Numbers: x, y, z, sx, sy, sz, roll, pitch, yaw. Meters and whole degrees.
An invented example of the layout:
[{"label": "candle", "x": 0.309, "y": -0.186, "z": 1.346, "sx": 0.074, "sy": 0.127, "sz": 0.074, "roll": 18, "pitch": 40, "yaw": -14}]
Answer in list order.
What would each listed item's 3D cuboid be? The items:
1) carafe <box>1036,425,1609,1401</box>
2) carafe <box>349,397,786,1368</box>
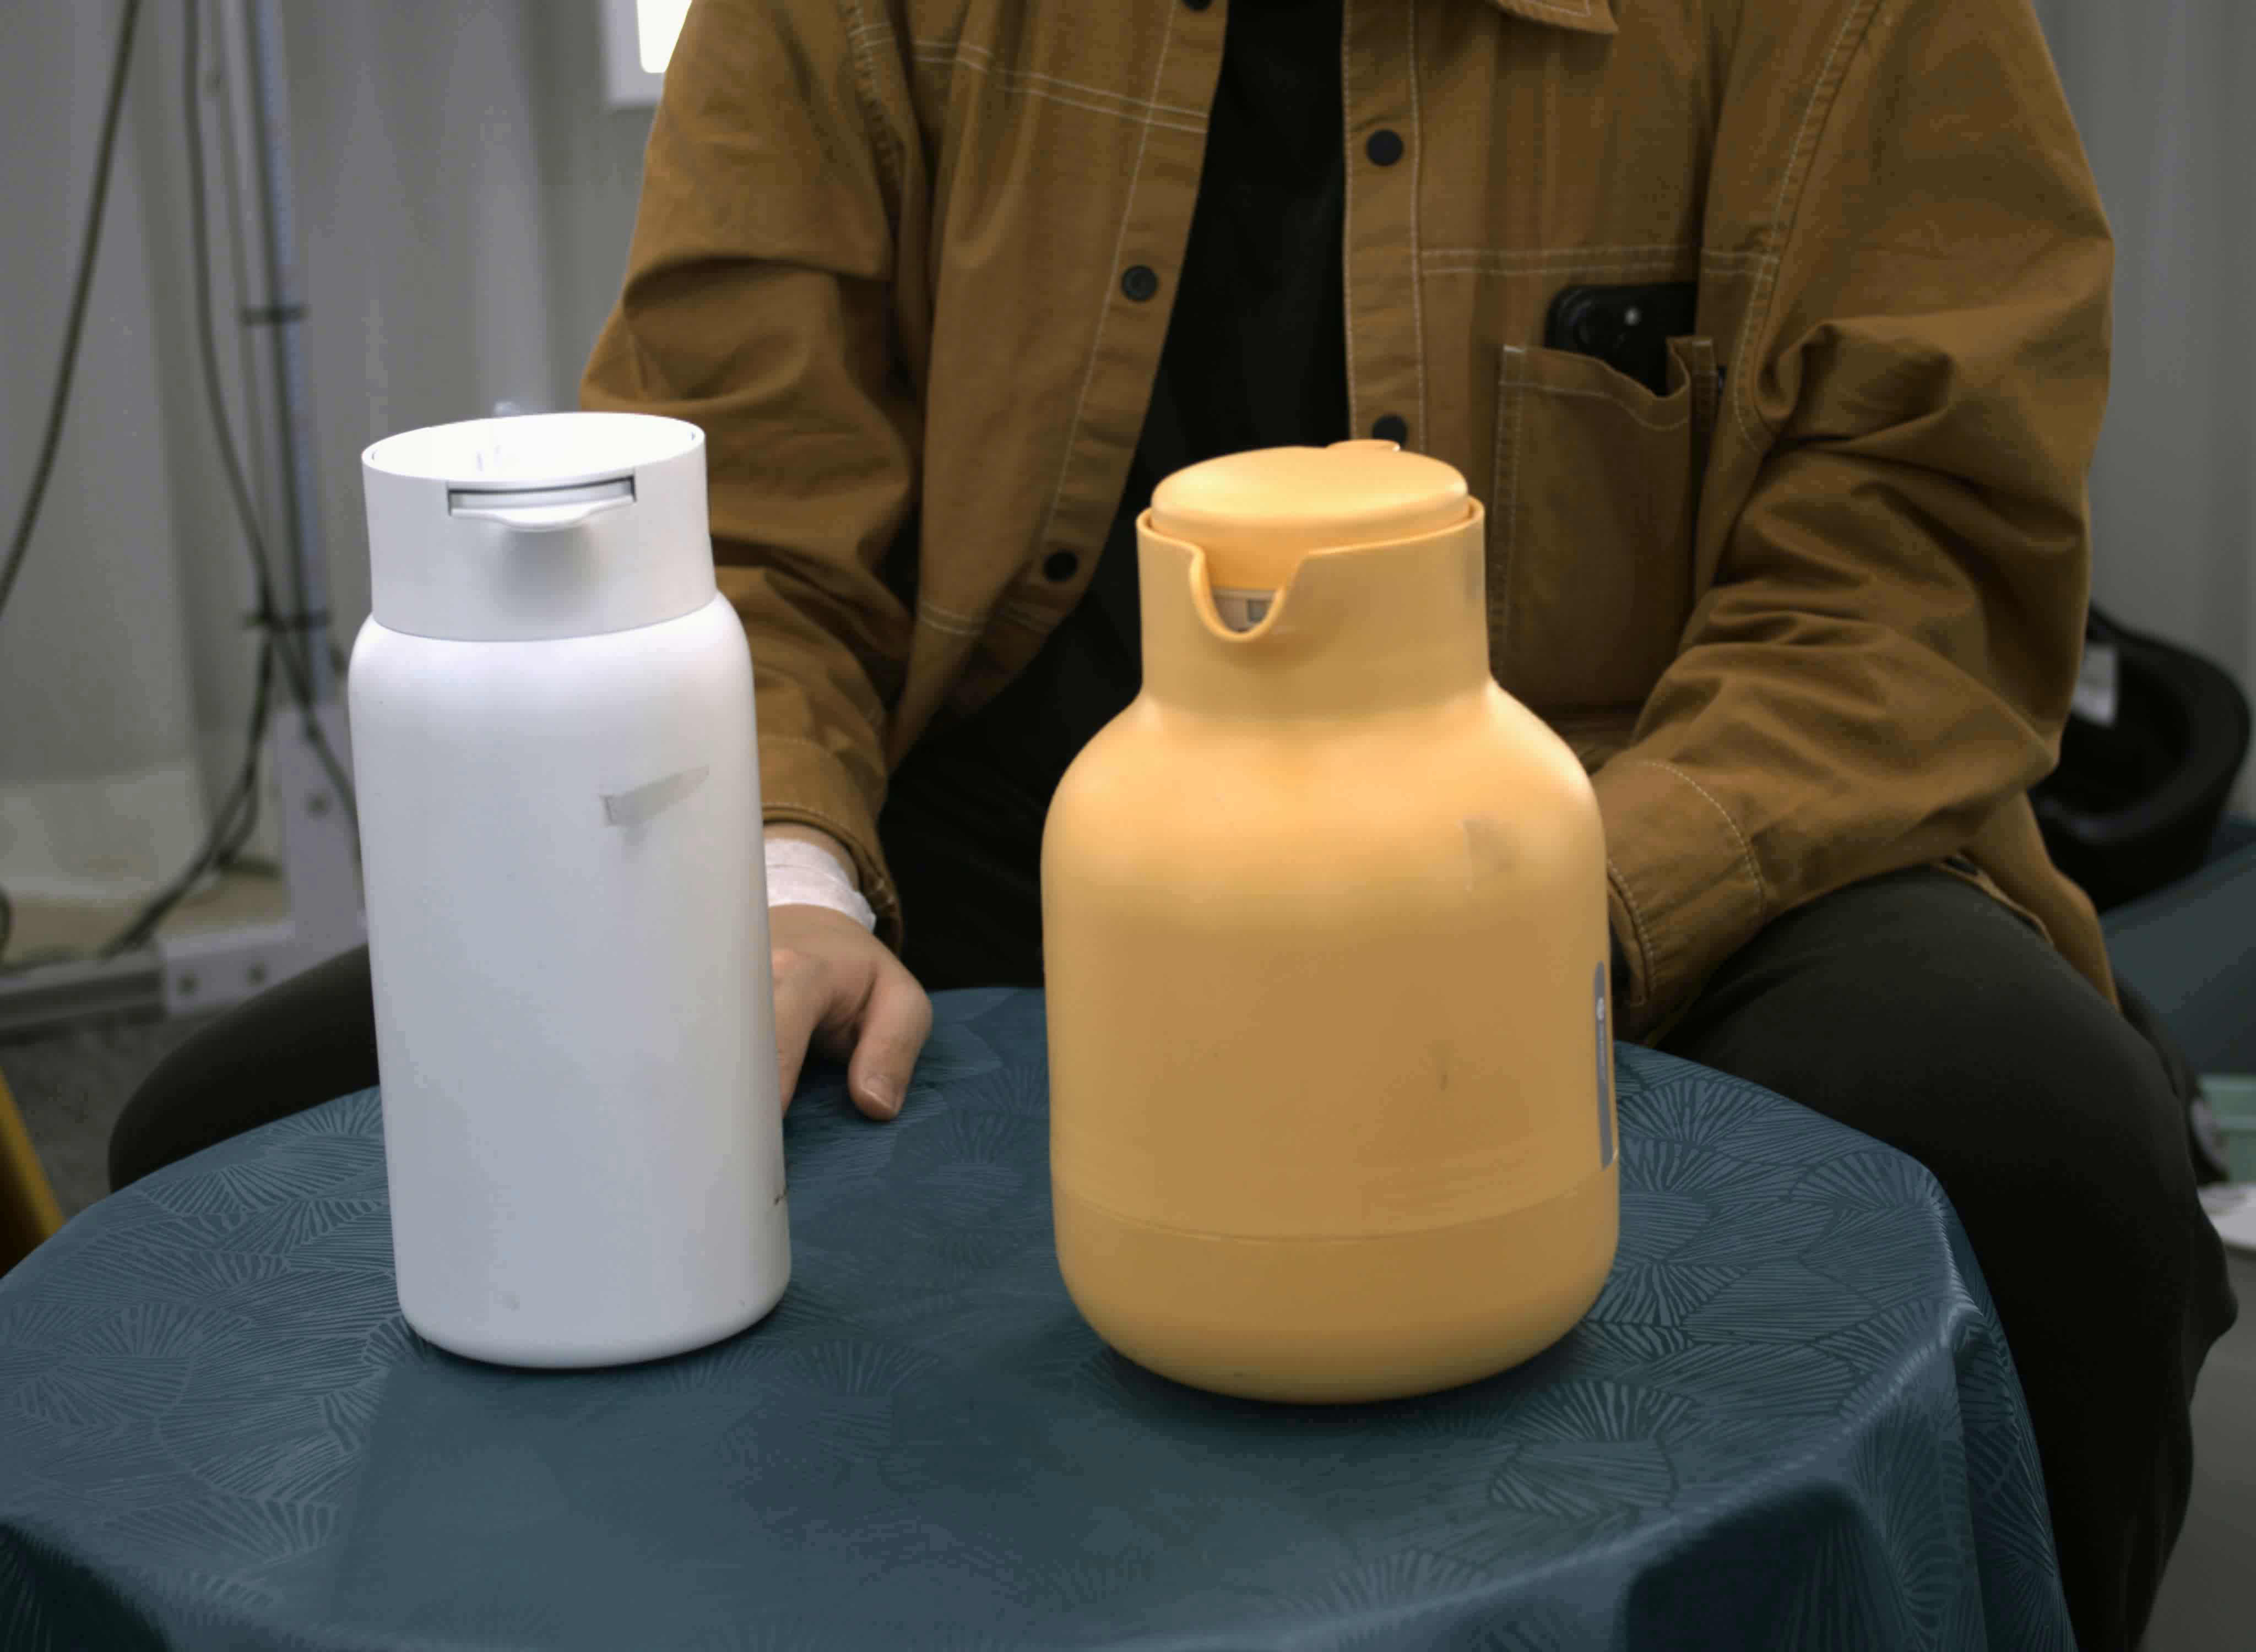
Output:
[{"label": "carafe", "x": 0.062, "y": 0.016, "z": 1.563, "sx": 0.163, "sy": 0.259, "sz": 0.203, "roll": 6, "pitch": 17, "yaw": 20}, {"label": "carafe", "x": -0.168, "y": 0.012, "z": 1.616, "sx": 0.123, "sy": 0.268, "sz": 0.174, "roll": -6, "pitch": 14, "yaw": -8}]
